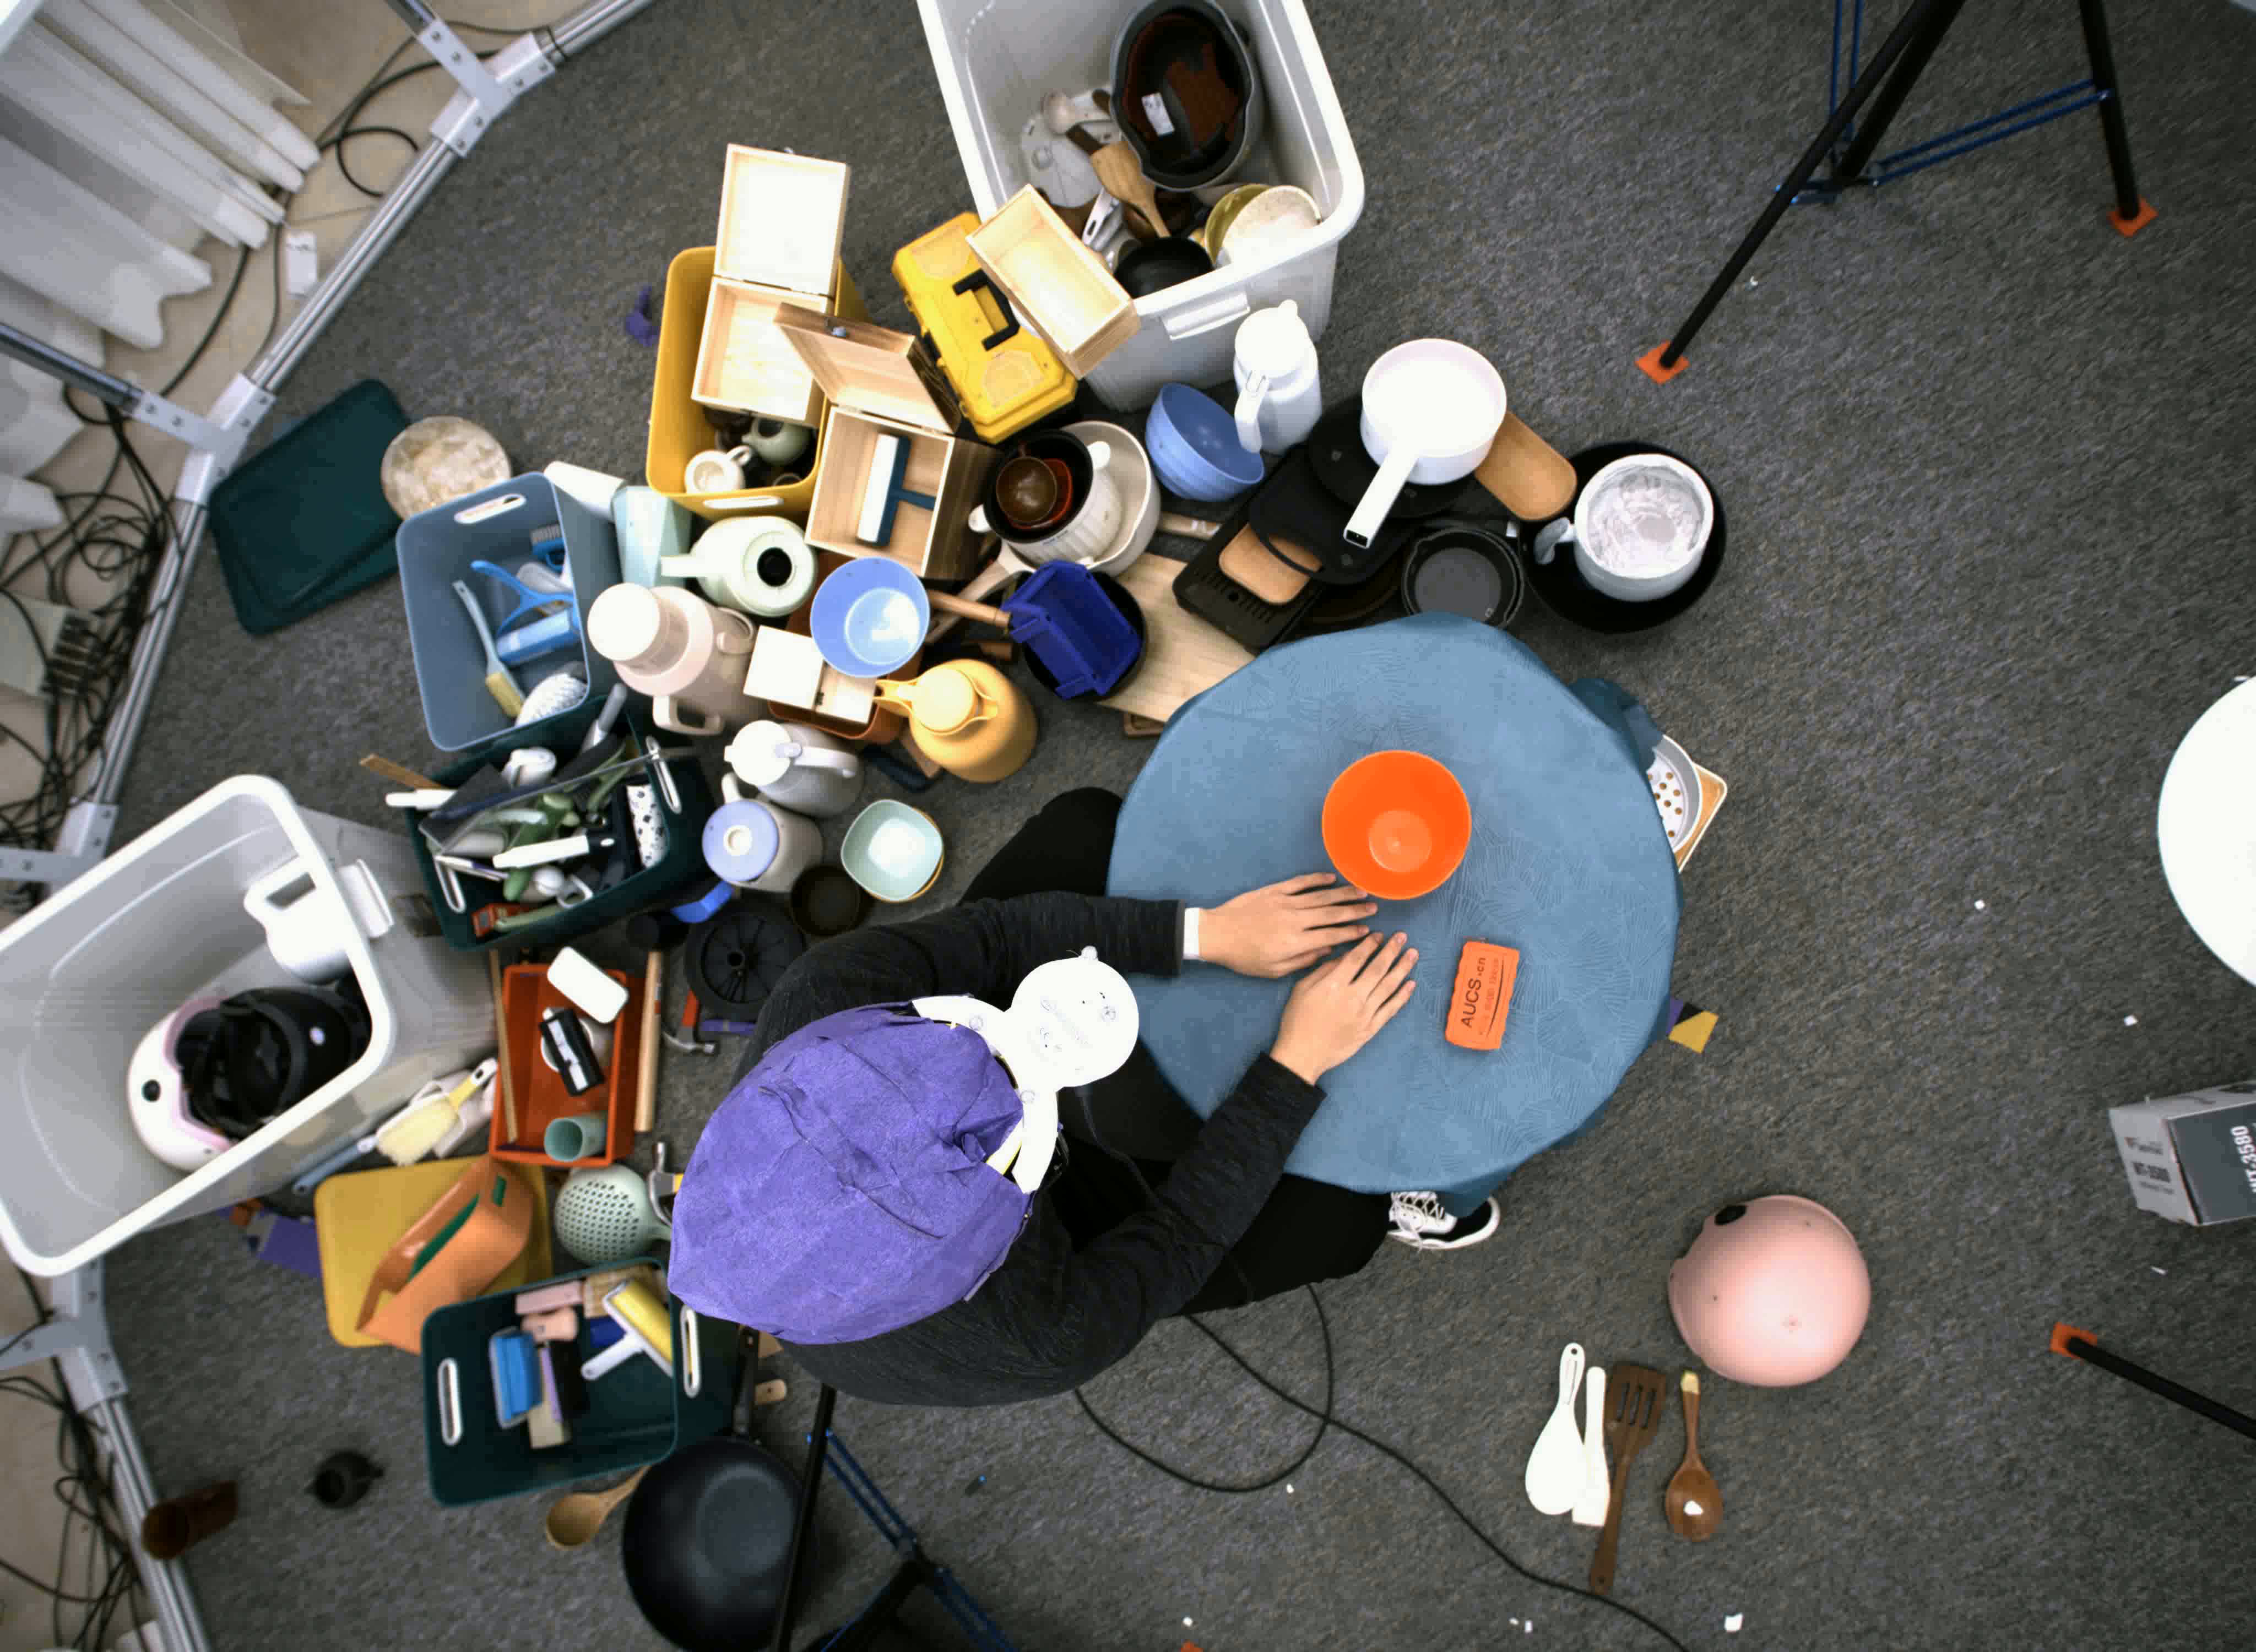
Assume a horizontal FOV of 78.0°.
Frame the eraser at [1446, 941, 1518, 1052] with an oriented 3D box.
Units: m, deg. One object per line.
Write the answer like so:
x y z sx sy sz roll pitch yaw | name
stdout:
0.365 0.173 1.422 0.059 0.023 0.107 12 88 9 | eraser

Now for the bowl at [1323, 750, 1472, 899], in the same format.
0.275 0.001 1.412 0.148 0.105 0.147 -1 85 10 | bowl
